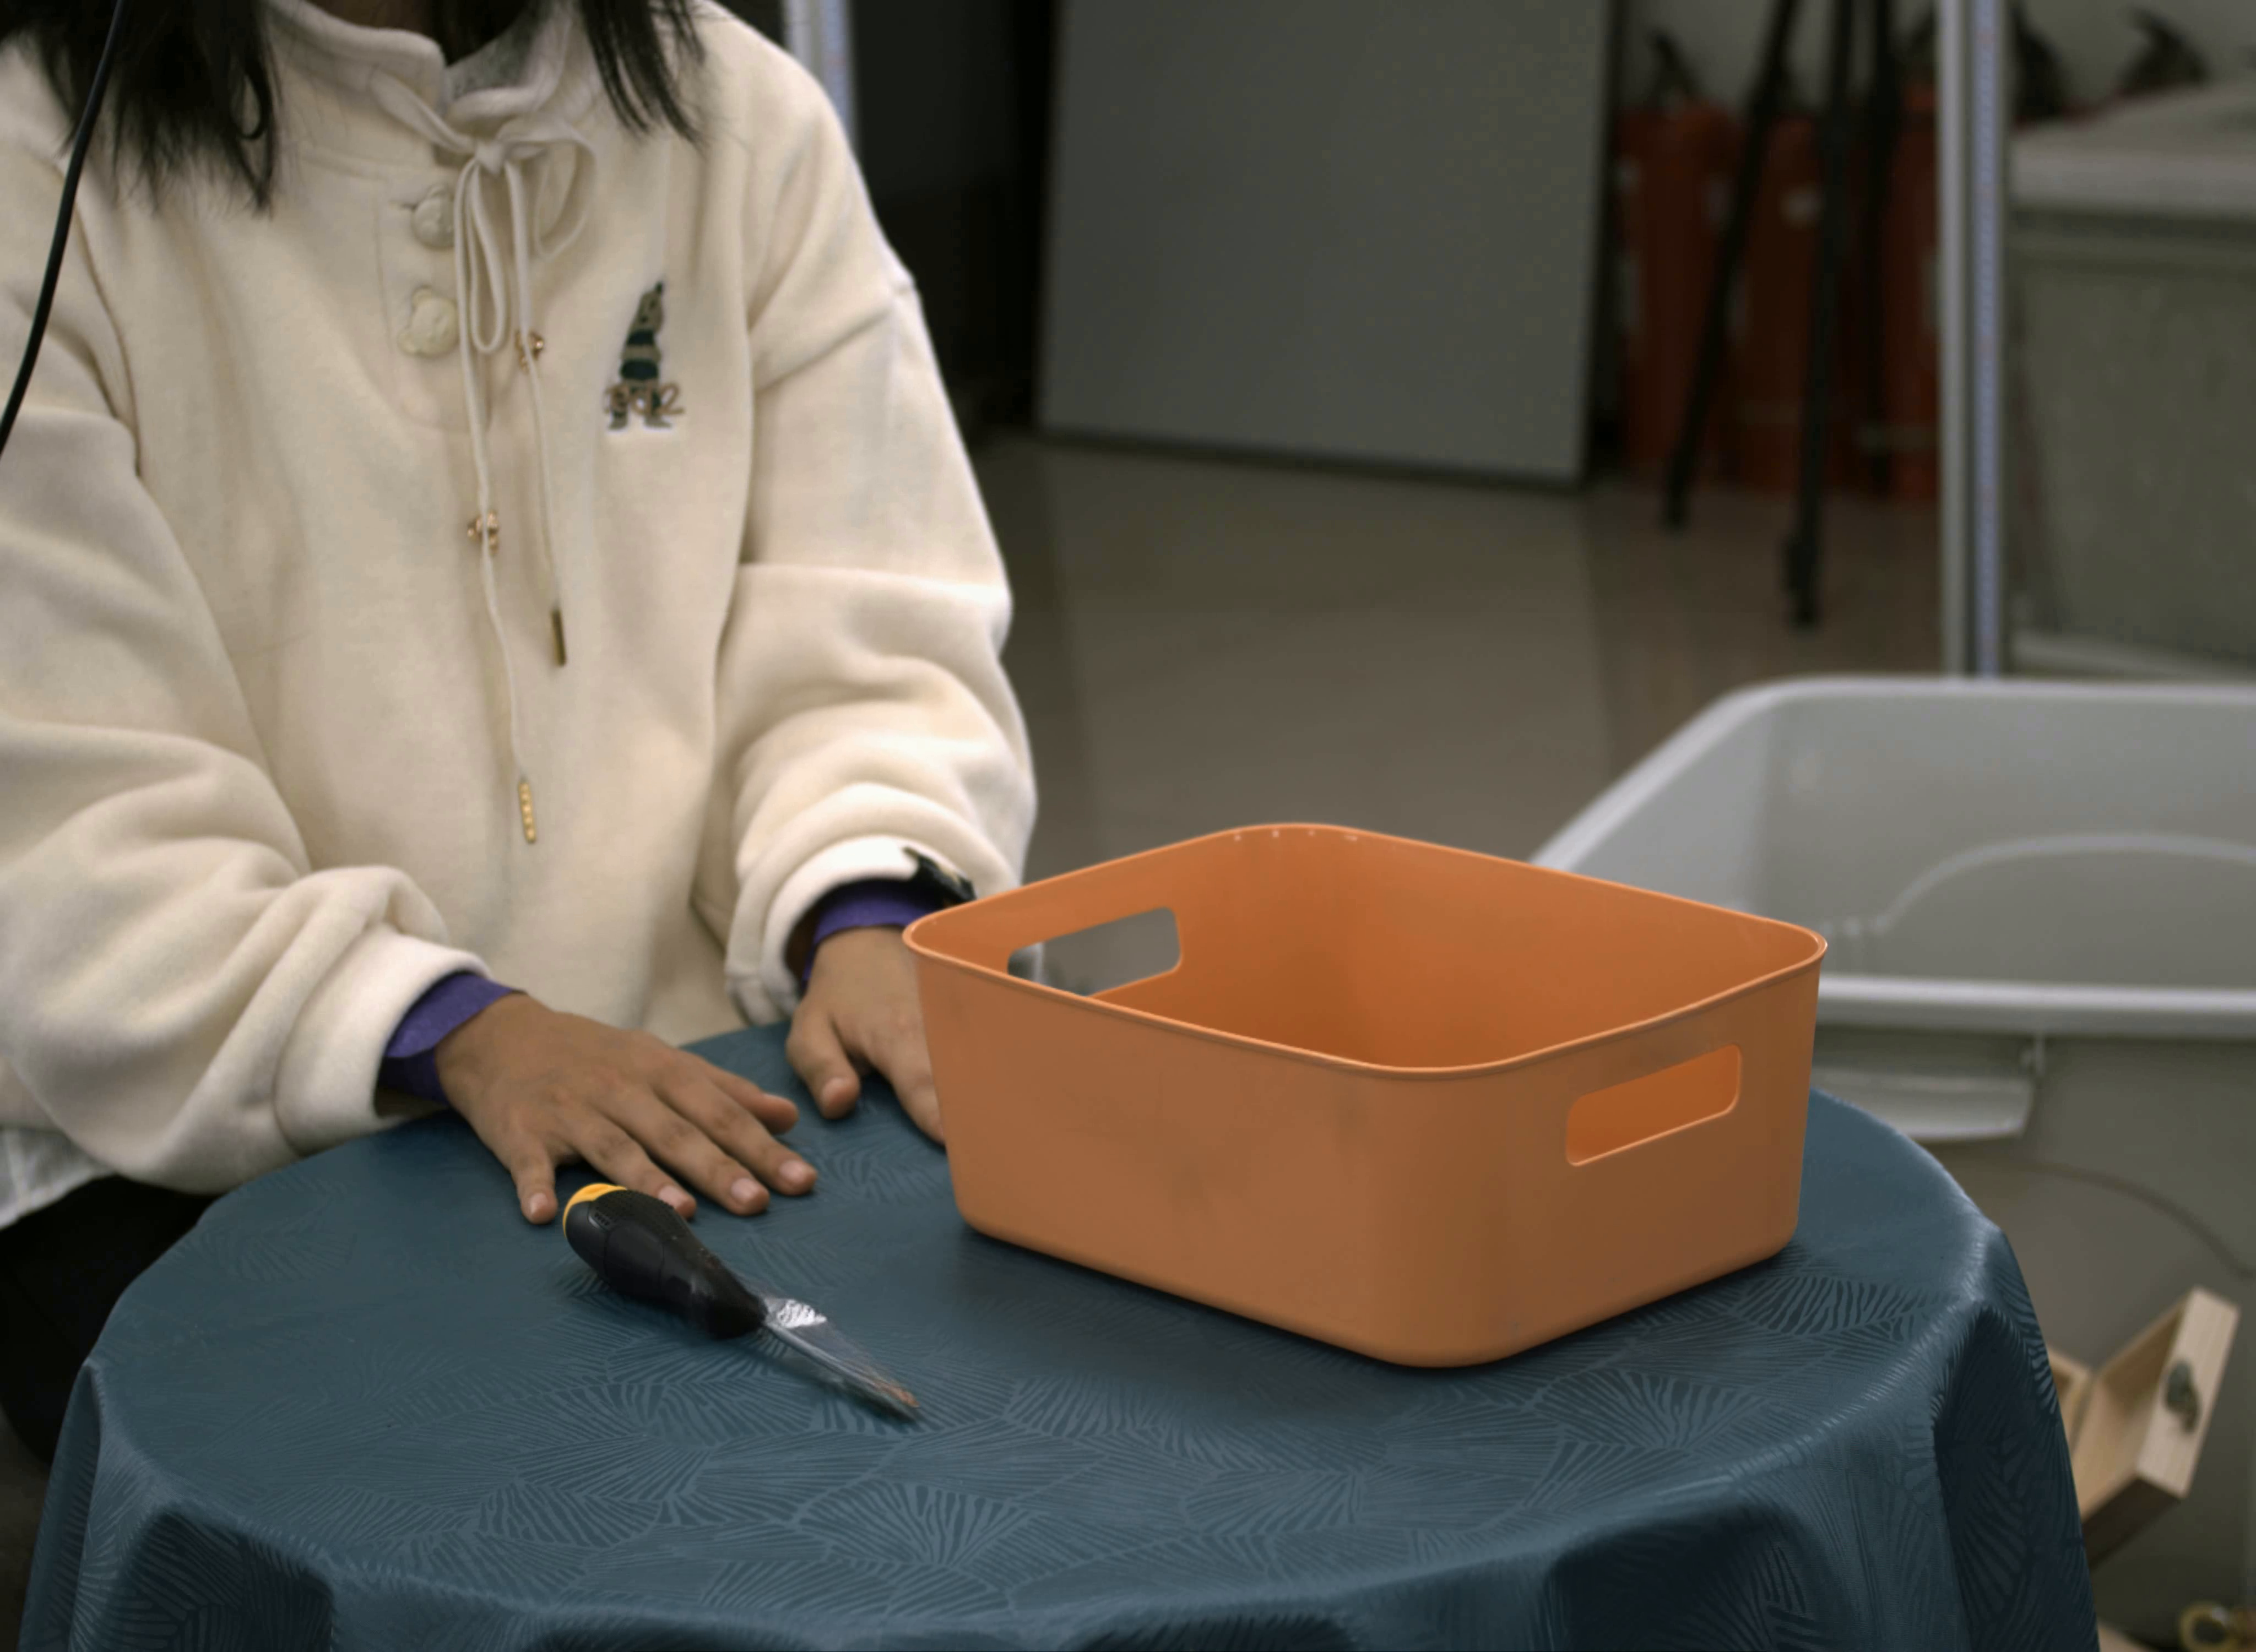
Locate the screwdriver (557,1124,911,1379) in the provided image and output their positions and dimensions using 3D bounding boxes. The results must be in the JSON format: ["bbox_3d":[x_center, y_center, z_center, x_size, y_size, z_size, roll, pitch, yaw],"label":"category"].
[{"bbox_3d":[-0.117,0.133,1.660,0.031,0.032,0.200,-13,25,-35],"label":"screwdriver"}]

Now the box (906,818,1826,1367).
[{"bbox_3d":[0.075,0.080,1.695,0.195,0.103,0.276,-16,18,-38],"label":"box"}]
